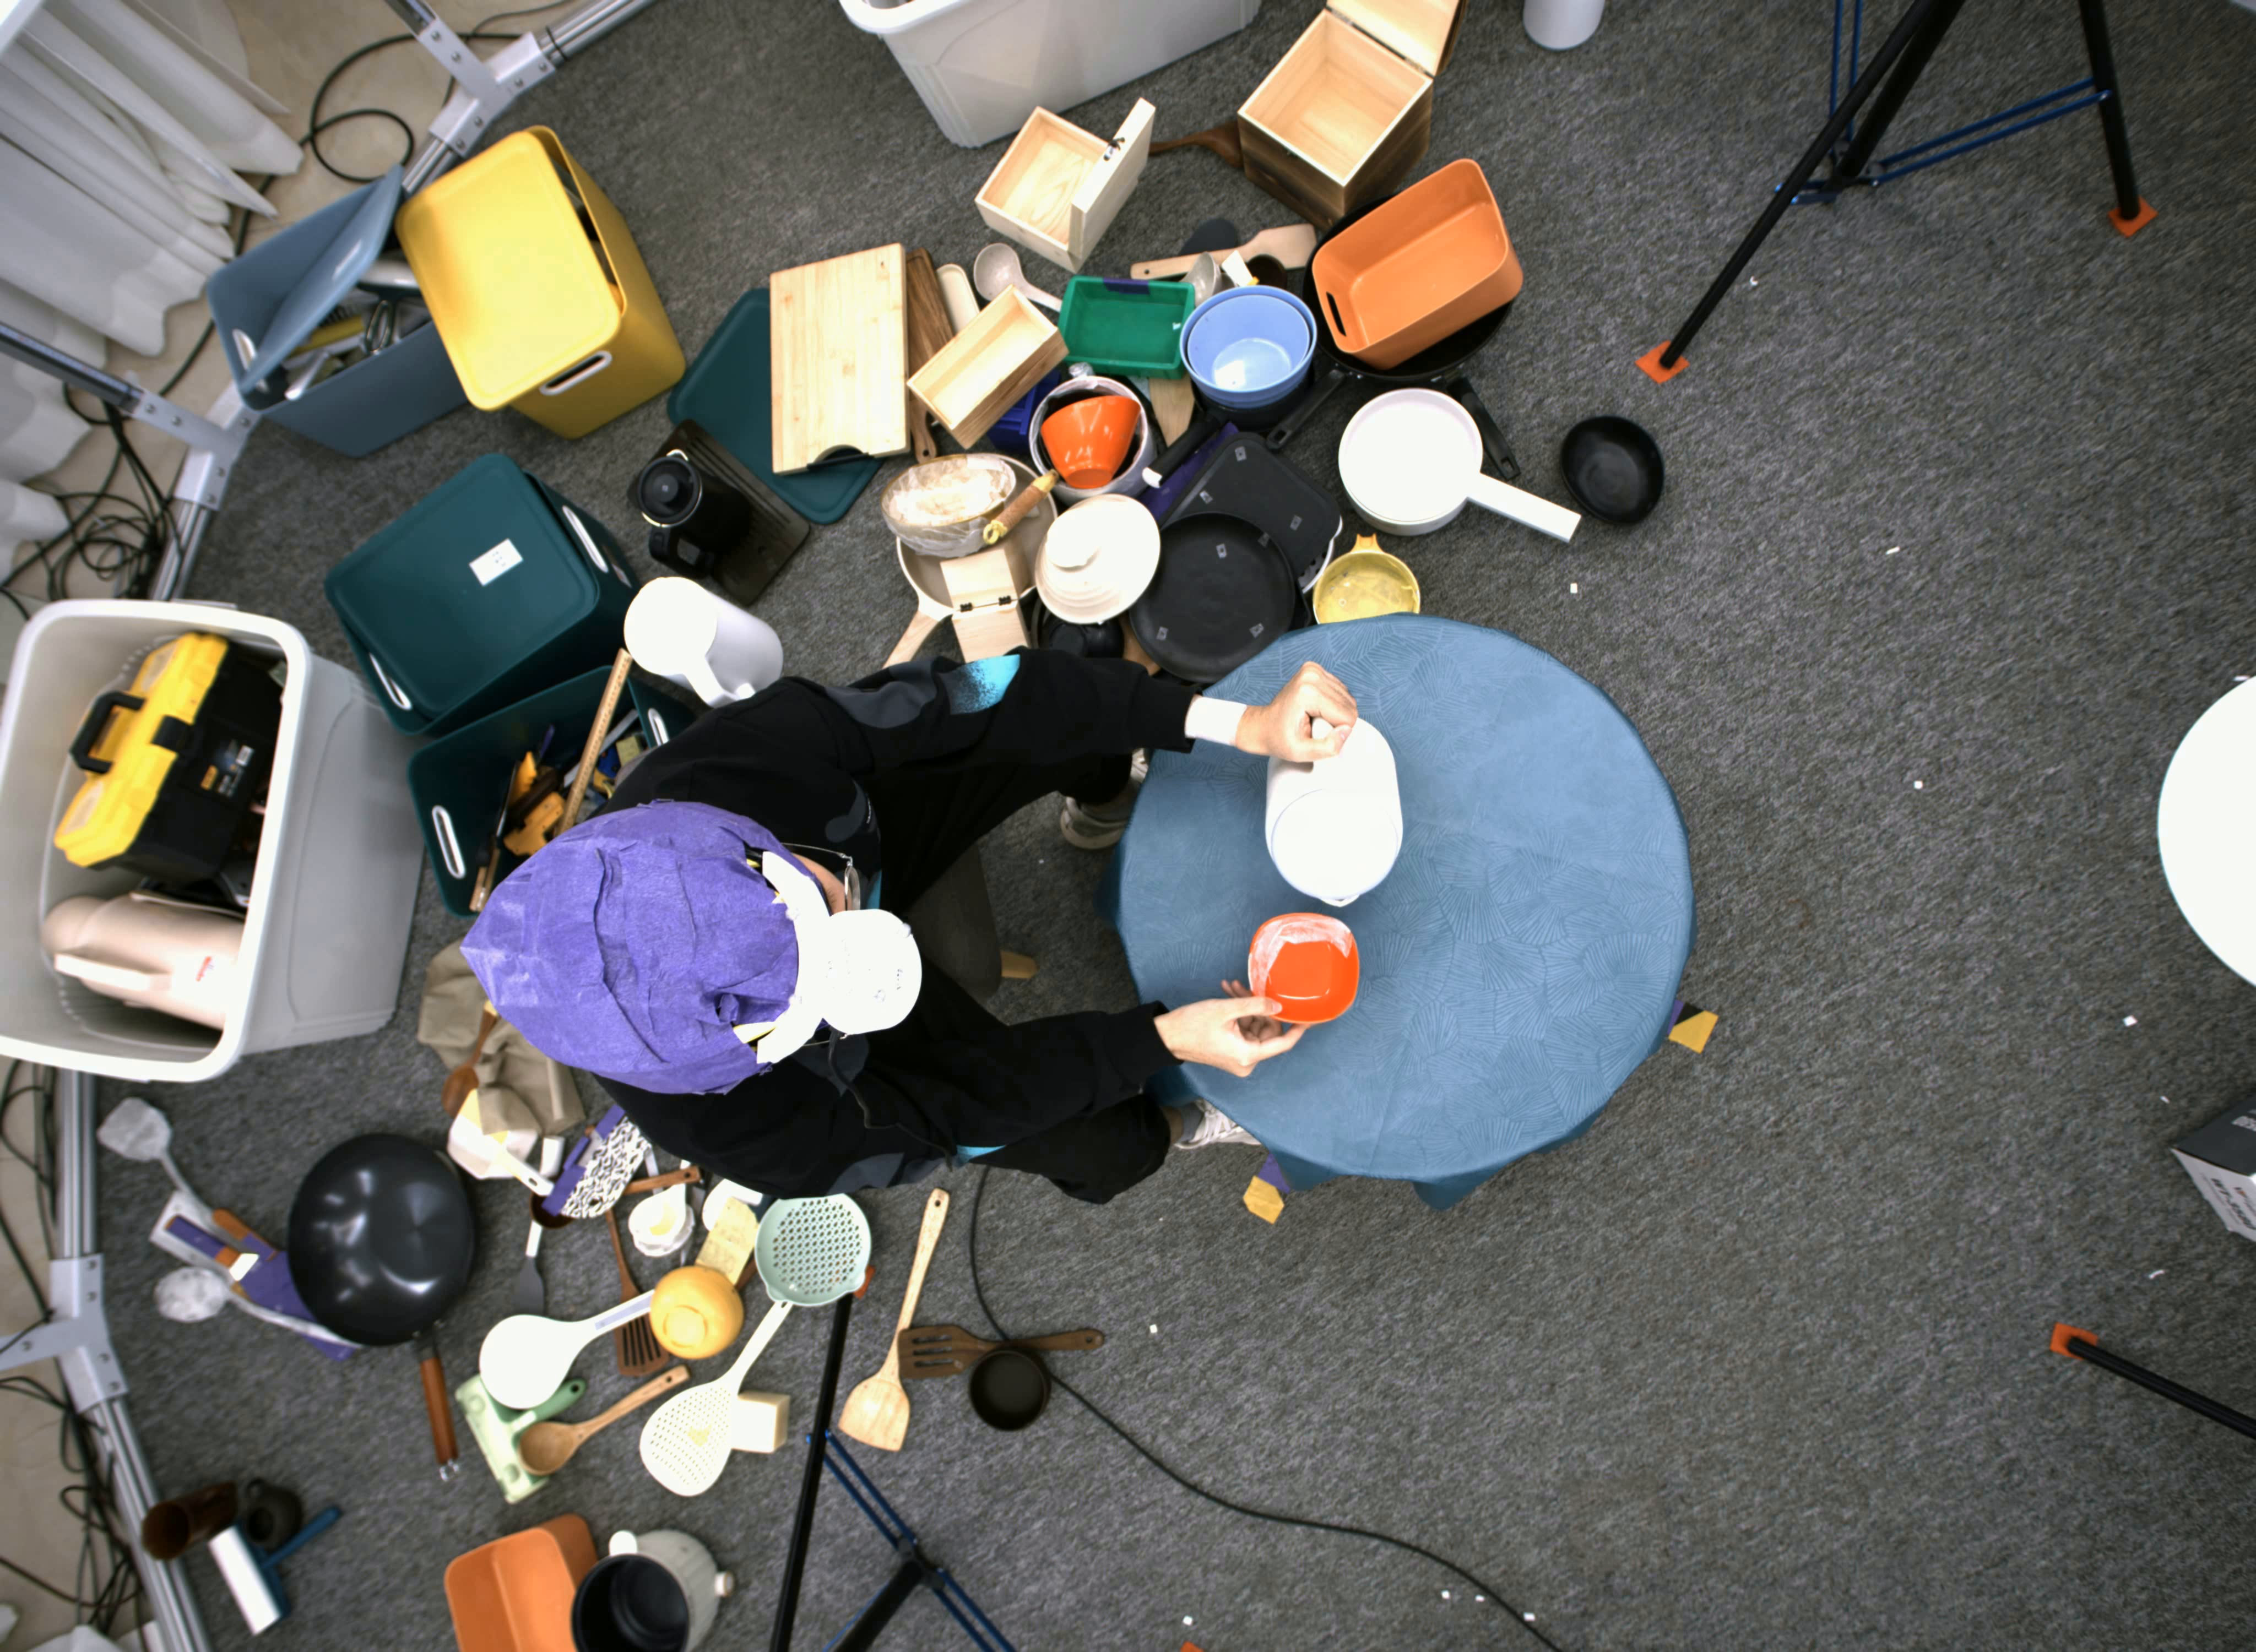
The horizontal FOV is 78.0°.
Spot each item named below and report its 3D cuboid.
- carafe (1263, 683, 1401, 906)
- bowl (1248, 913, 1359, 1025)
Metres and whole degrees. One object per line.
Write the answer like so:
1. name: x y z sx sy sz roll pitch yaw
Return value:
1. carafe: 0.194 -0.043 1.345 0.133 0.178 0.194 -7 116 10
2. bowl: 0.173 0.142 1.390 0.119 0.051 0.118 0 88 2
